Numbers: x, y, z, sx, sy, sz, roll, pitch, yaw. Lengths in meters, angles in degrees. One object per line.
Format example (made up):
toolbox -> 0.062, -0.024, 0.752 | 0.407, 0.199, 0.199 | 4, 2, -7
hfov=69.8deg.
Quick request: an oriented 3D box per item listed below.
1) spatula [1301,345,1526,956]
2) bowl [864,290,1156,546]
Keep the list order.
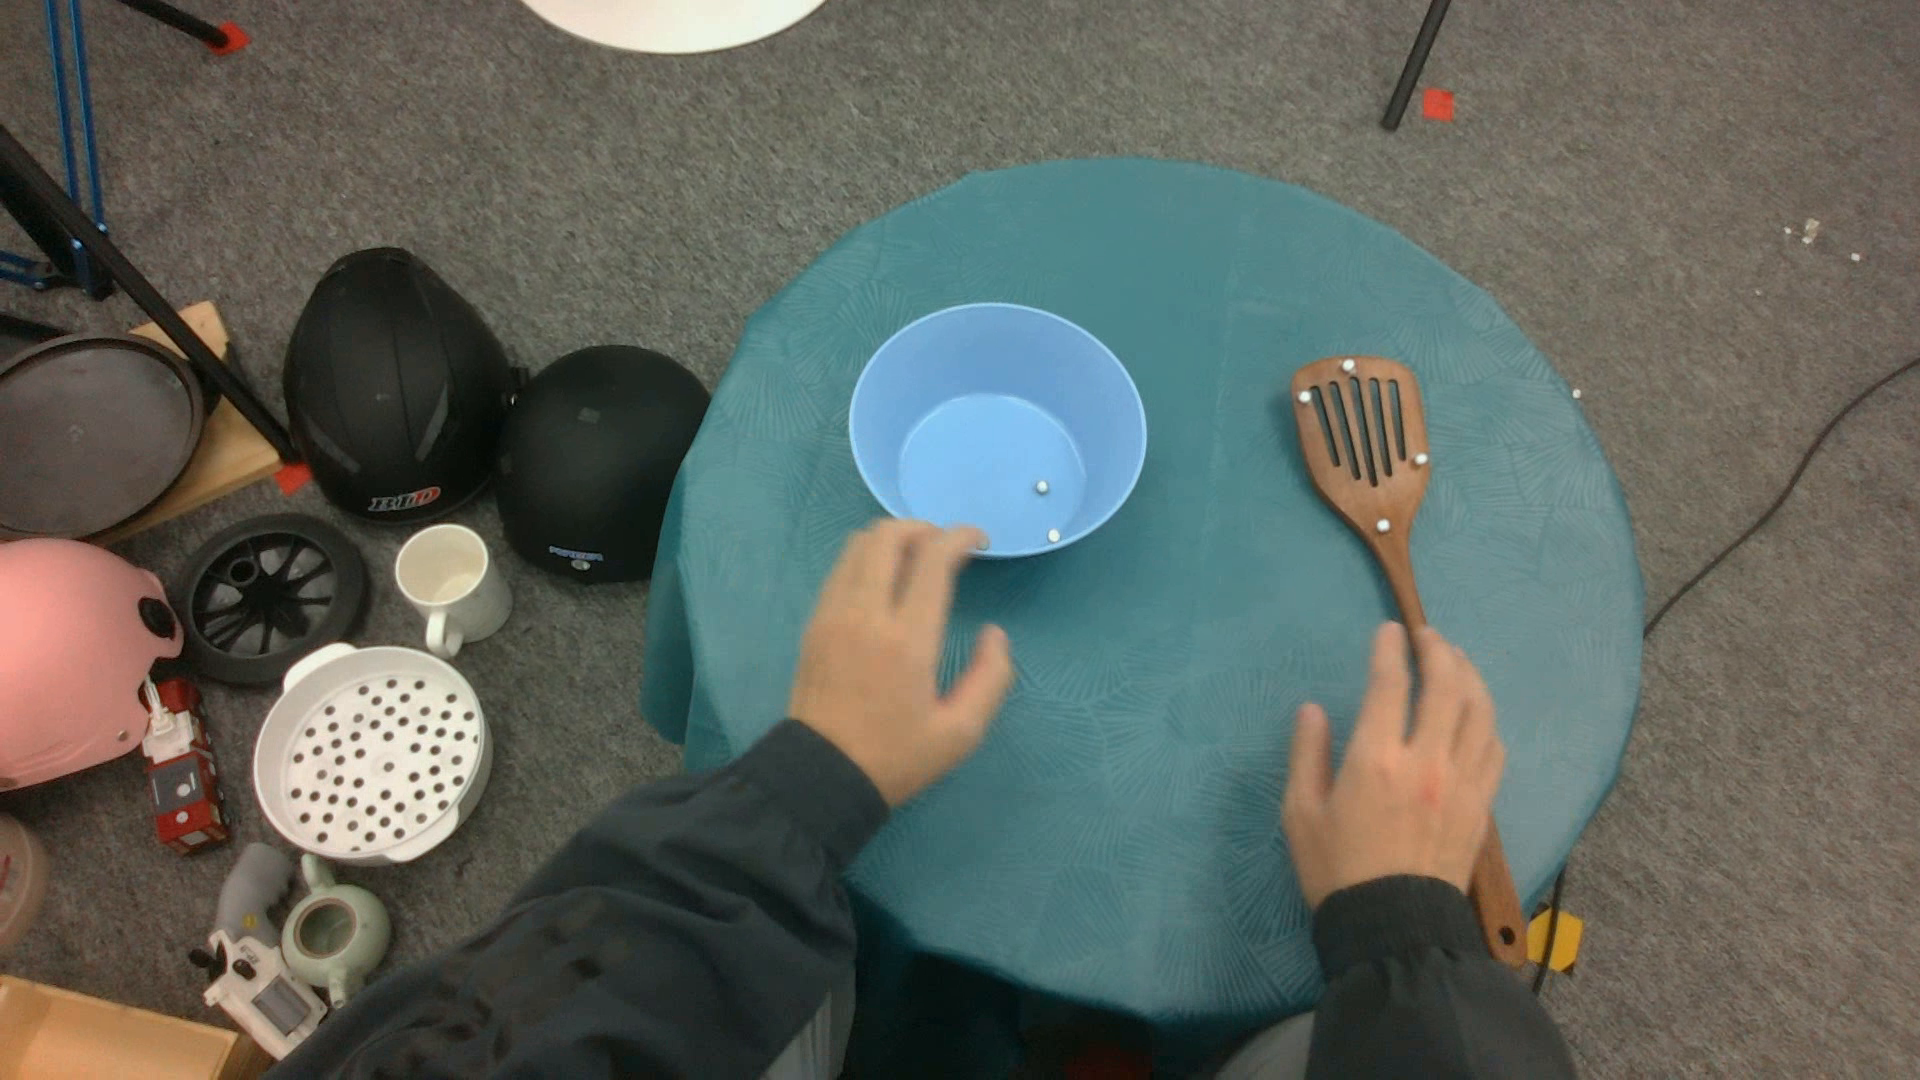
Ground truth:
spatula -> 0.280, 0.051, 0.831 | 0.085, 0.024, 0.388 | -4, 65, -4
bowl -> 0.029, -0.063, 0.848 | 0.176, 0.070, 0.176 | 1, 64, -2
